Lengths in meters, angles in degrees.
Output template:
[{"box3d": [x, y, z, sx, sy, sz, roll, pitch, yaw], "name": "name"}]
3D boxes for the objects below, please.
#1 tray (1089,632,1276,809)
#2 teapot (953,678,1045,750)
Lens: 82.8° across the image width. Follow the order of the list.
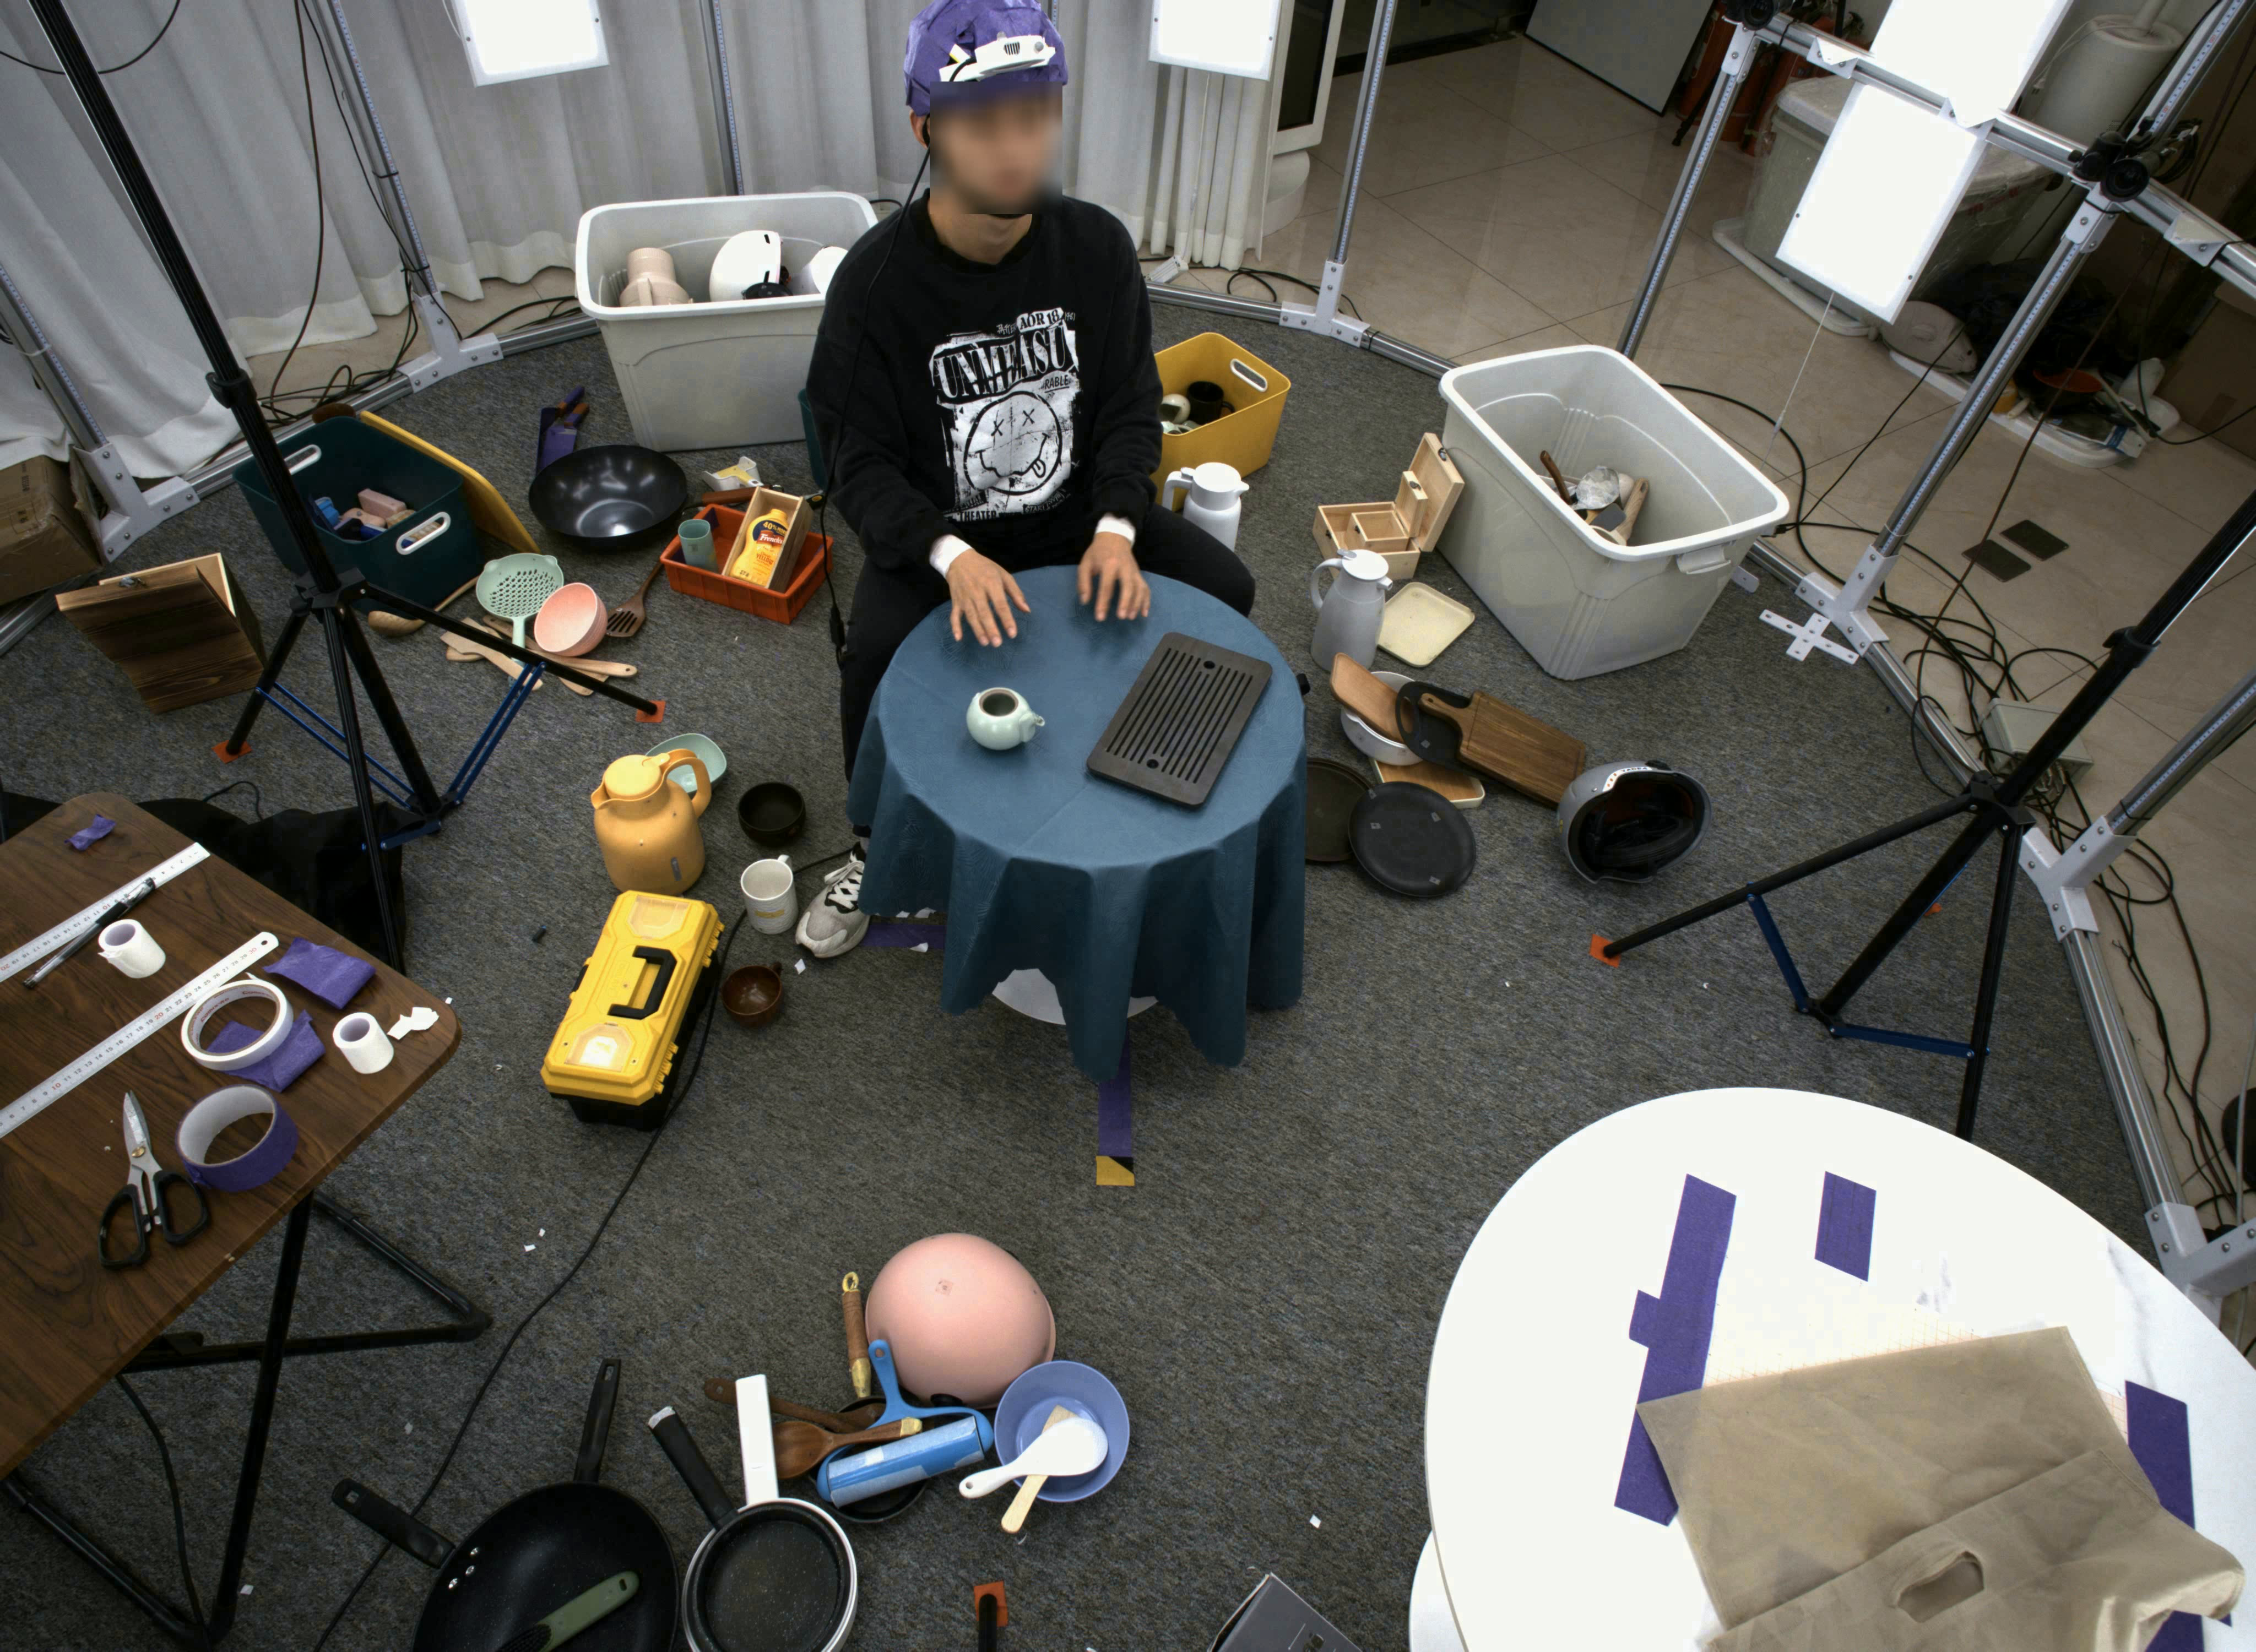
[{"box3d": [0.081, -0.152, 1.795, 0.171, 0.018, 0.311, 20, 51, 13], "name": "tray"}, {"box3d": [-0.174, -0.146, 1.739, 0.145, 0.073, 0.089, 29, 53, 18], "name": "teapot"}]
